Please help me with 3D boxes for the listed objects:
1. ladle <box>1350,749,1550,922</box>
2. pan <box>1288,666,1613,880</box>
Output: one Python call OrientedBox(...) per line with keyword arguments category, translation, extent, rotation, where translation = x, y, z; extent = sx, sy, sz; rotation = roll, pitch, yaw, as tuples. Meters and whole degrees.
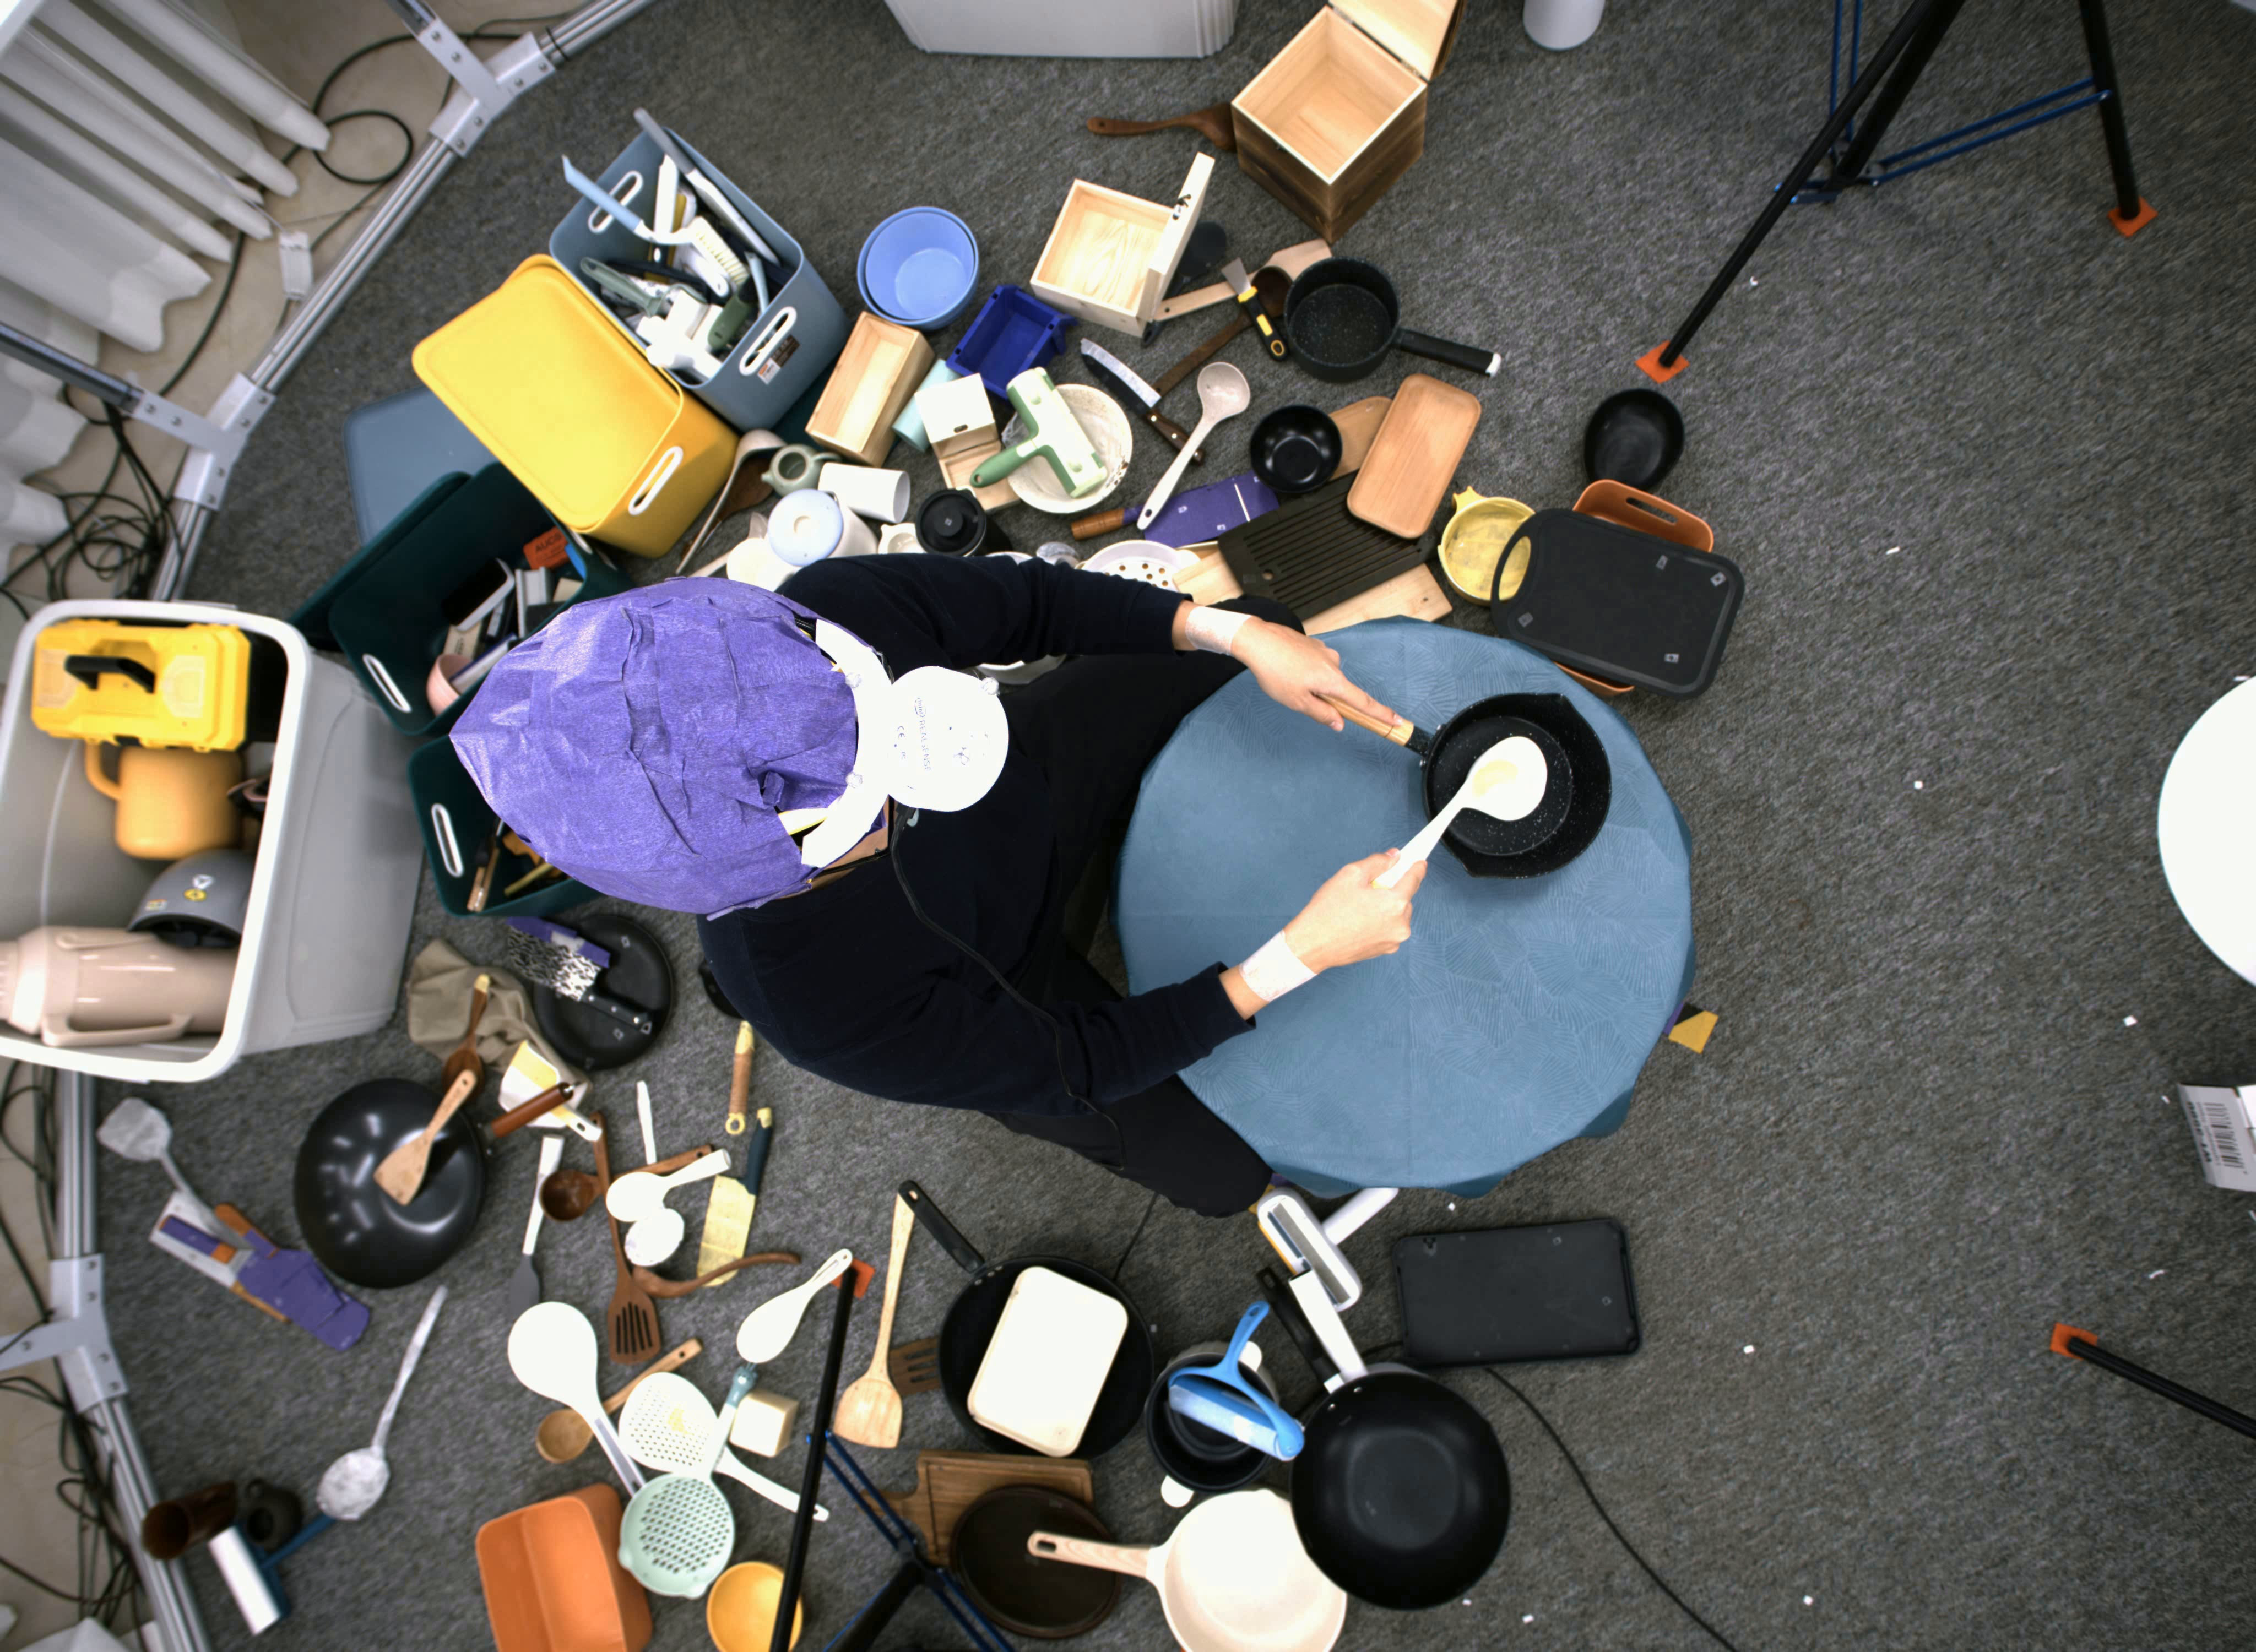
OrientedBox(category="ladle", translation=(0.318, 0.010, 1.337), extent=(0.070, 0.287, 0.092), rotation=(17, 129, 36))
OrientedBox(category="pan", translation=(0.314, -0.075, 1.383), extent=(0.343, 0.107, 0.208), rotation=(24, 97, 1))
